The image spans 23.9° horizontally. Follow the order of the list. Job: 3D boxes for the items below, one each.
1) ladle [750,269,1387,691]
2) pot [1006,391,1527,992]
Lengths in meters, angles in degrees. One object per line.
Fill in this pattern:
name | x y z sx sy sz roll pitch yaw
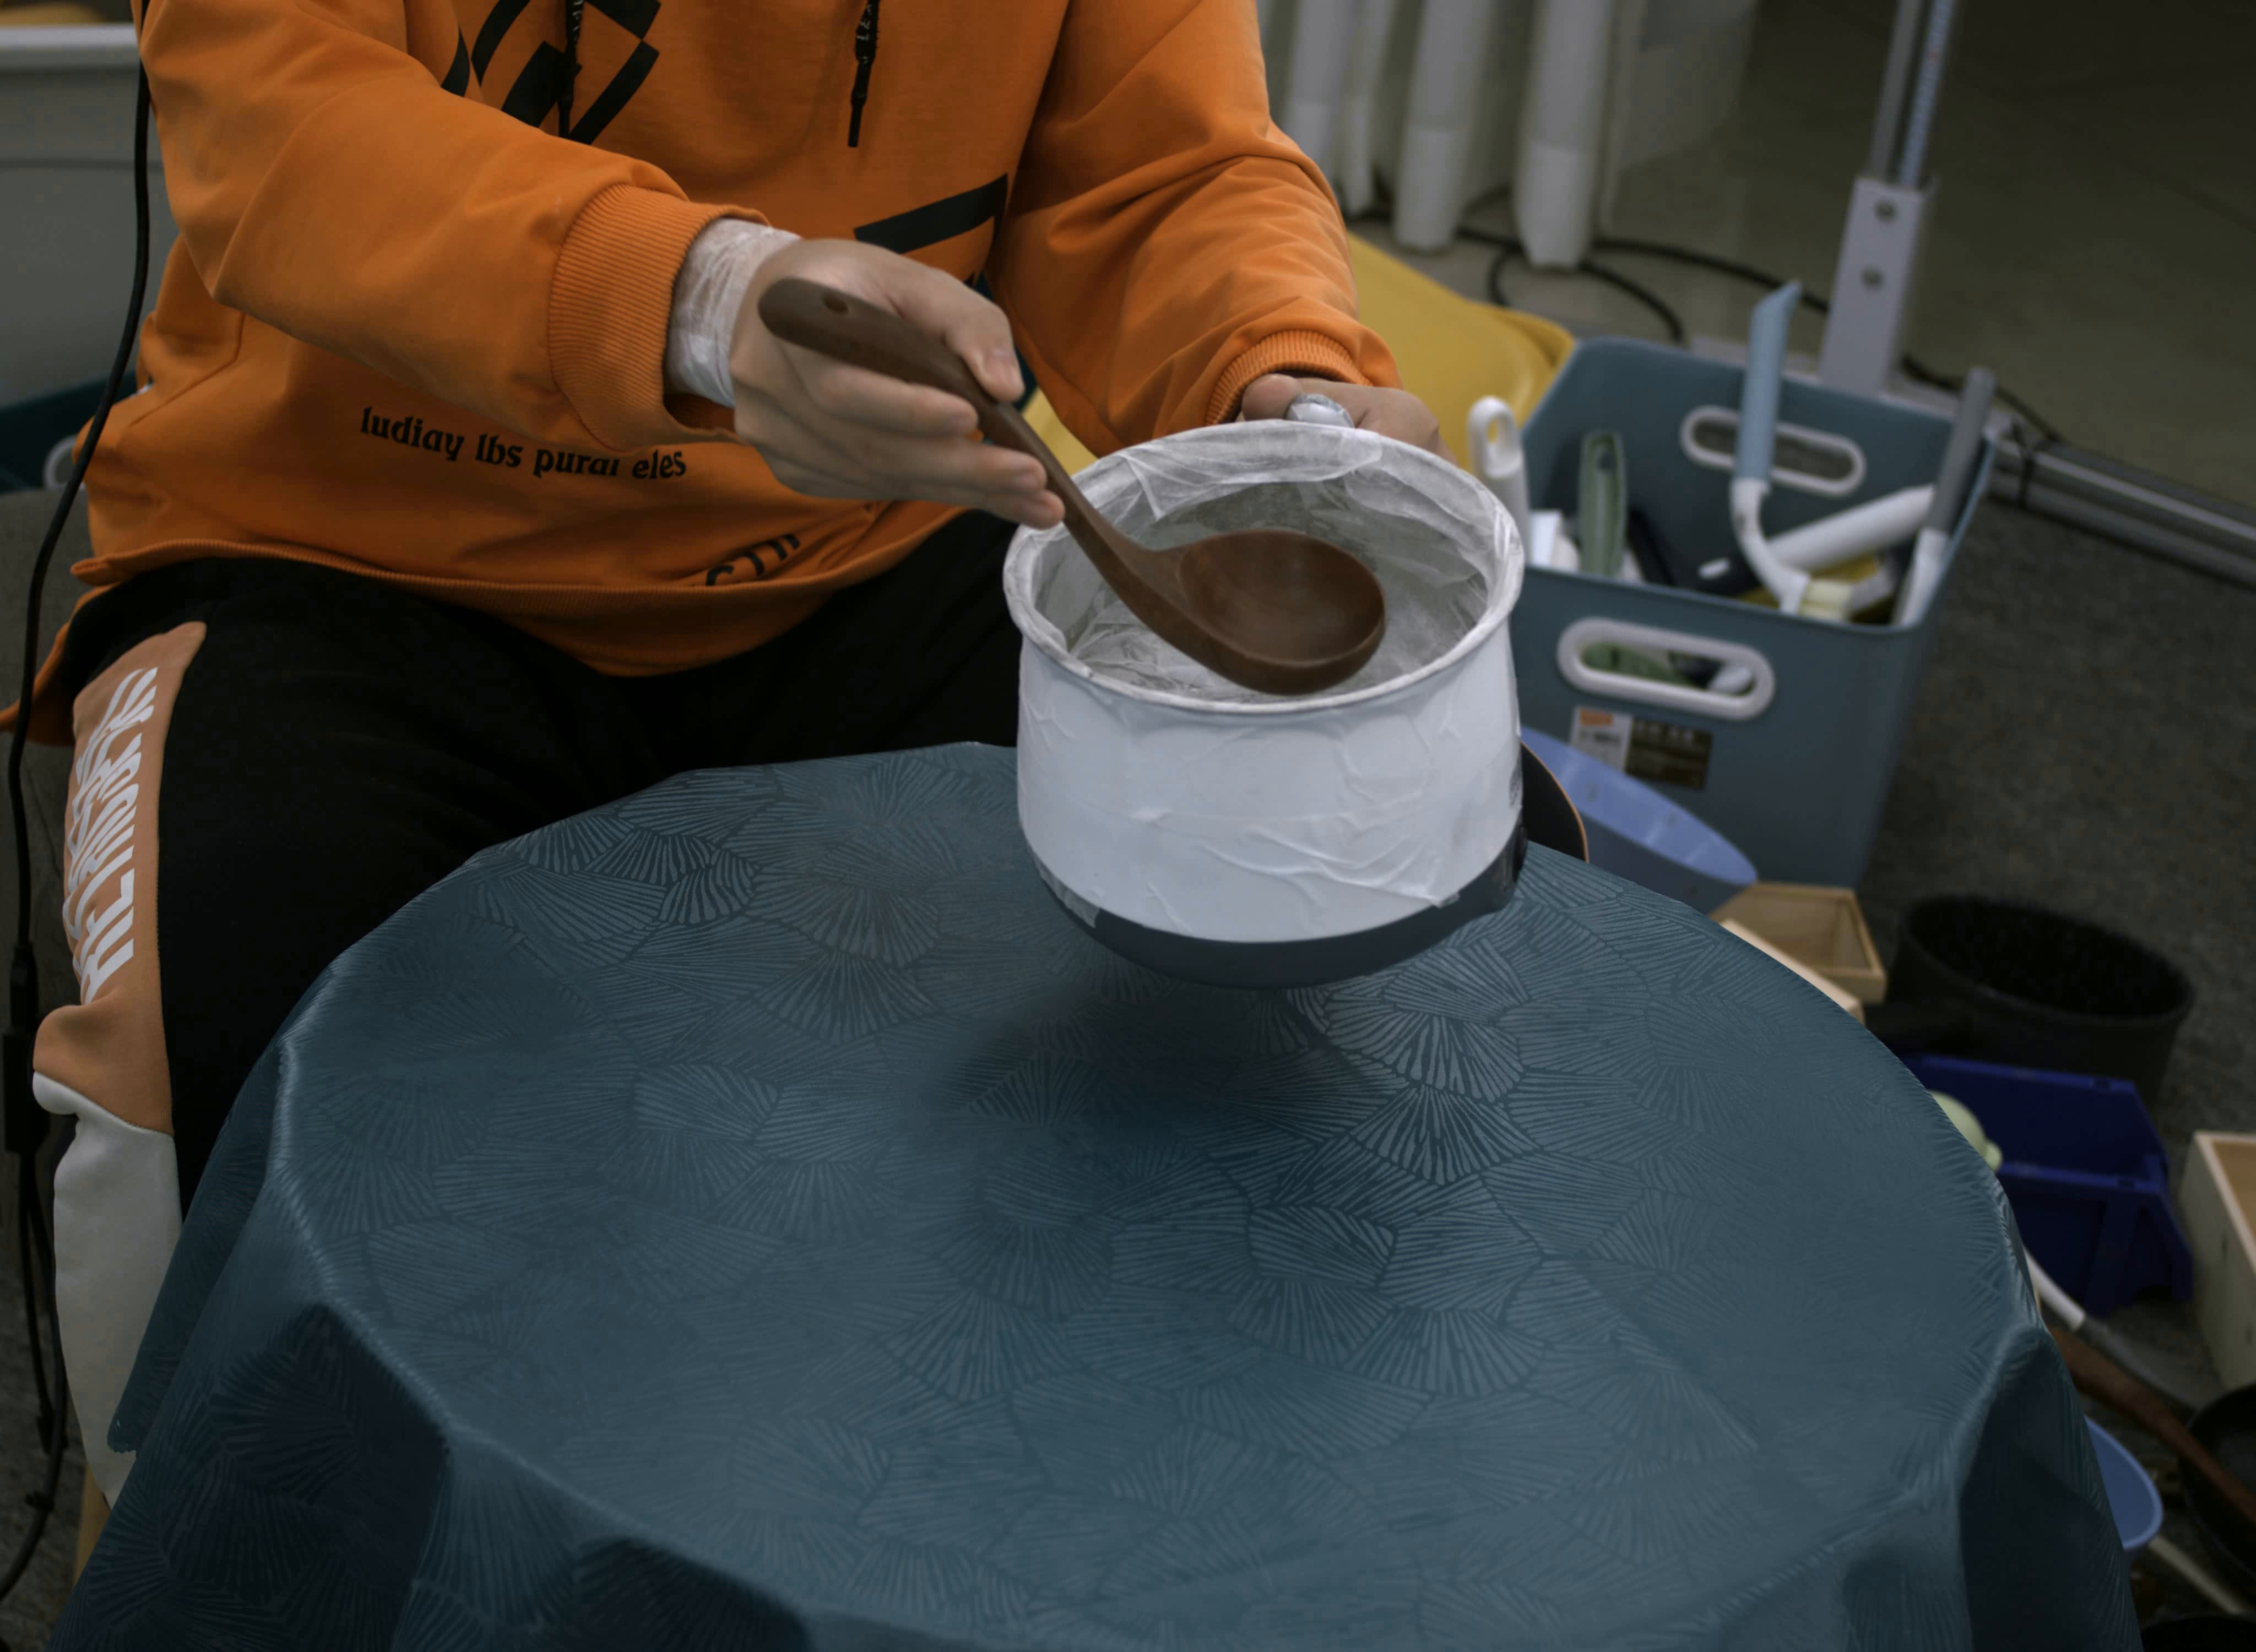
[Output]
ladle | -0.015 -0.122 1.750 0.258 0.065 0.077 38 19 -34
pot | 0.053 -0.056 1.861 0.178 0.136 0.235 4 37 9
